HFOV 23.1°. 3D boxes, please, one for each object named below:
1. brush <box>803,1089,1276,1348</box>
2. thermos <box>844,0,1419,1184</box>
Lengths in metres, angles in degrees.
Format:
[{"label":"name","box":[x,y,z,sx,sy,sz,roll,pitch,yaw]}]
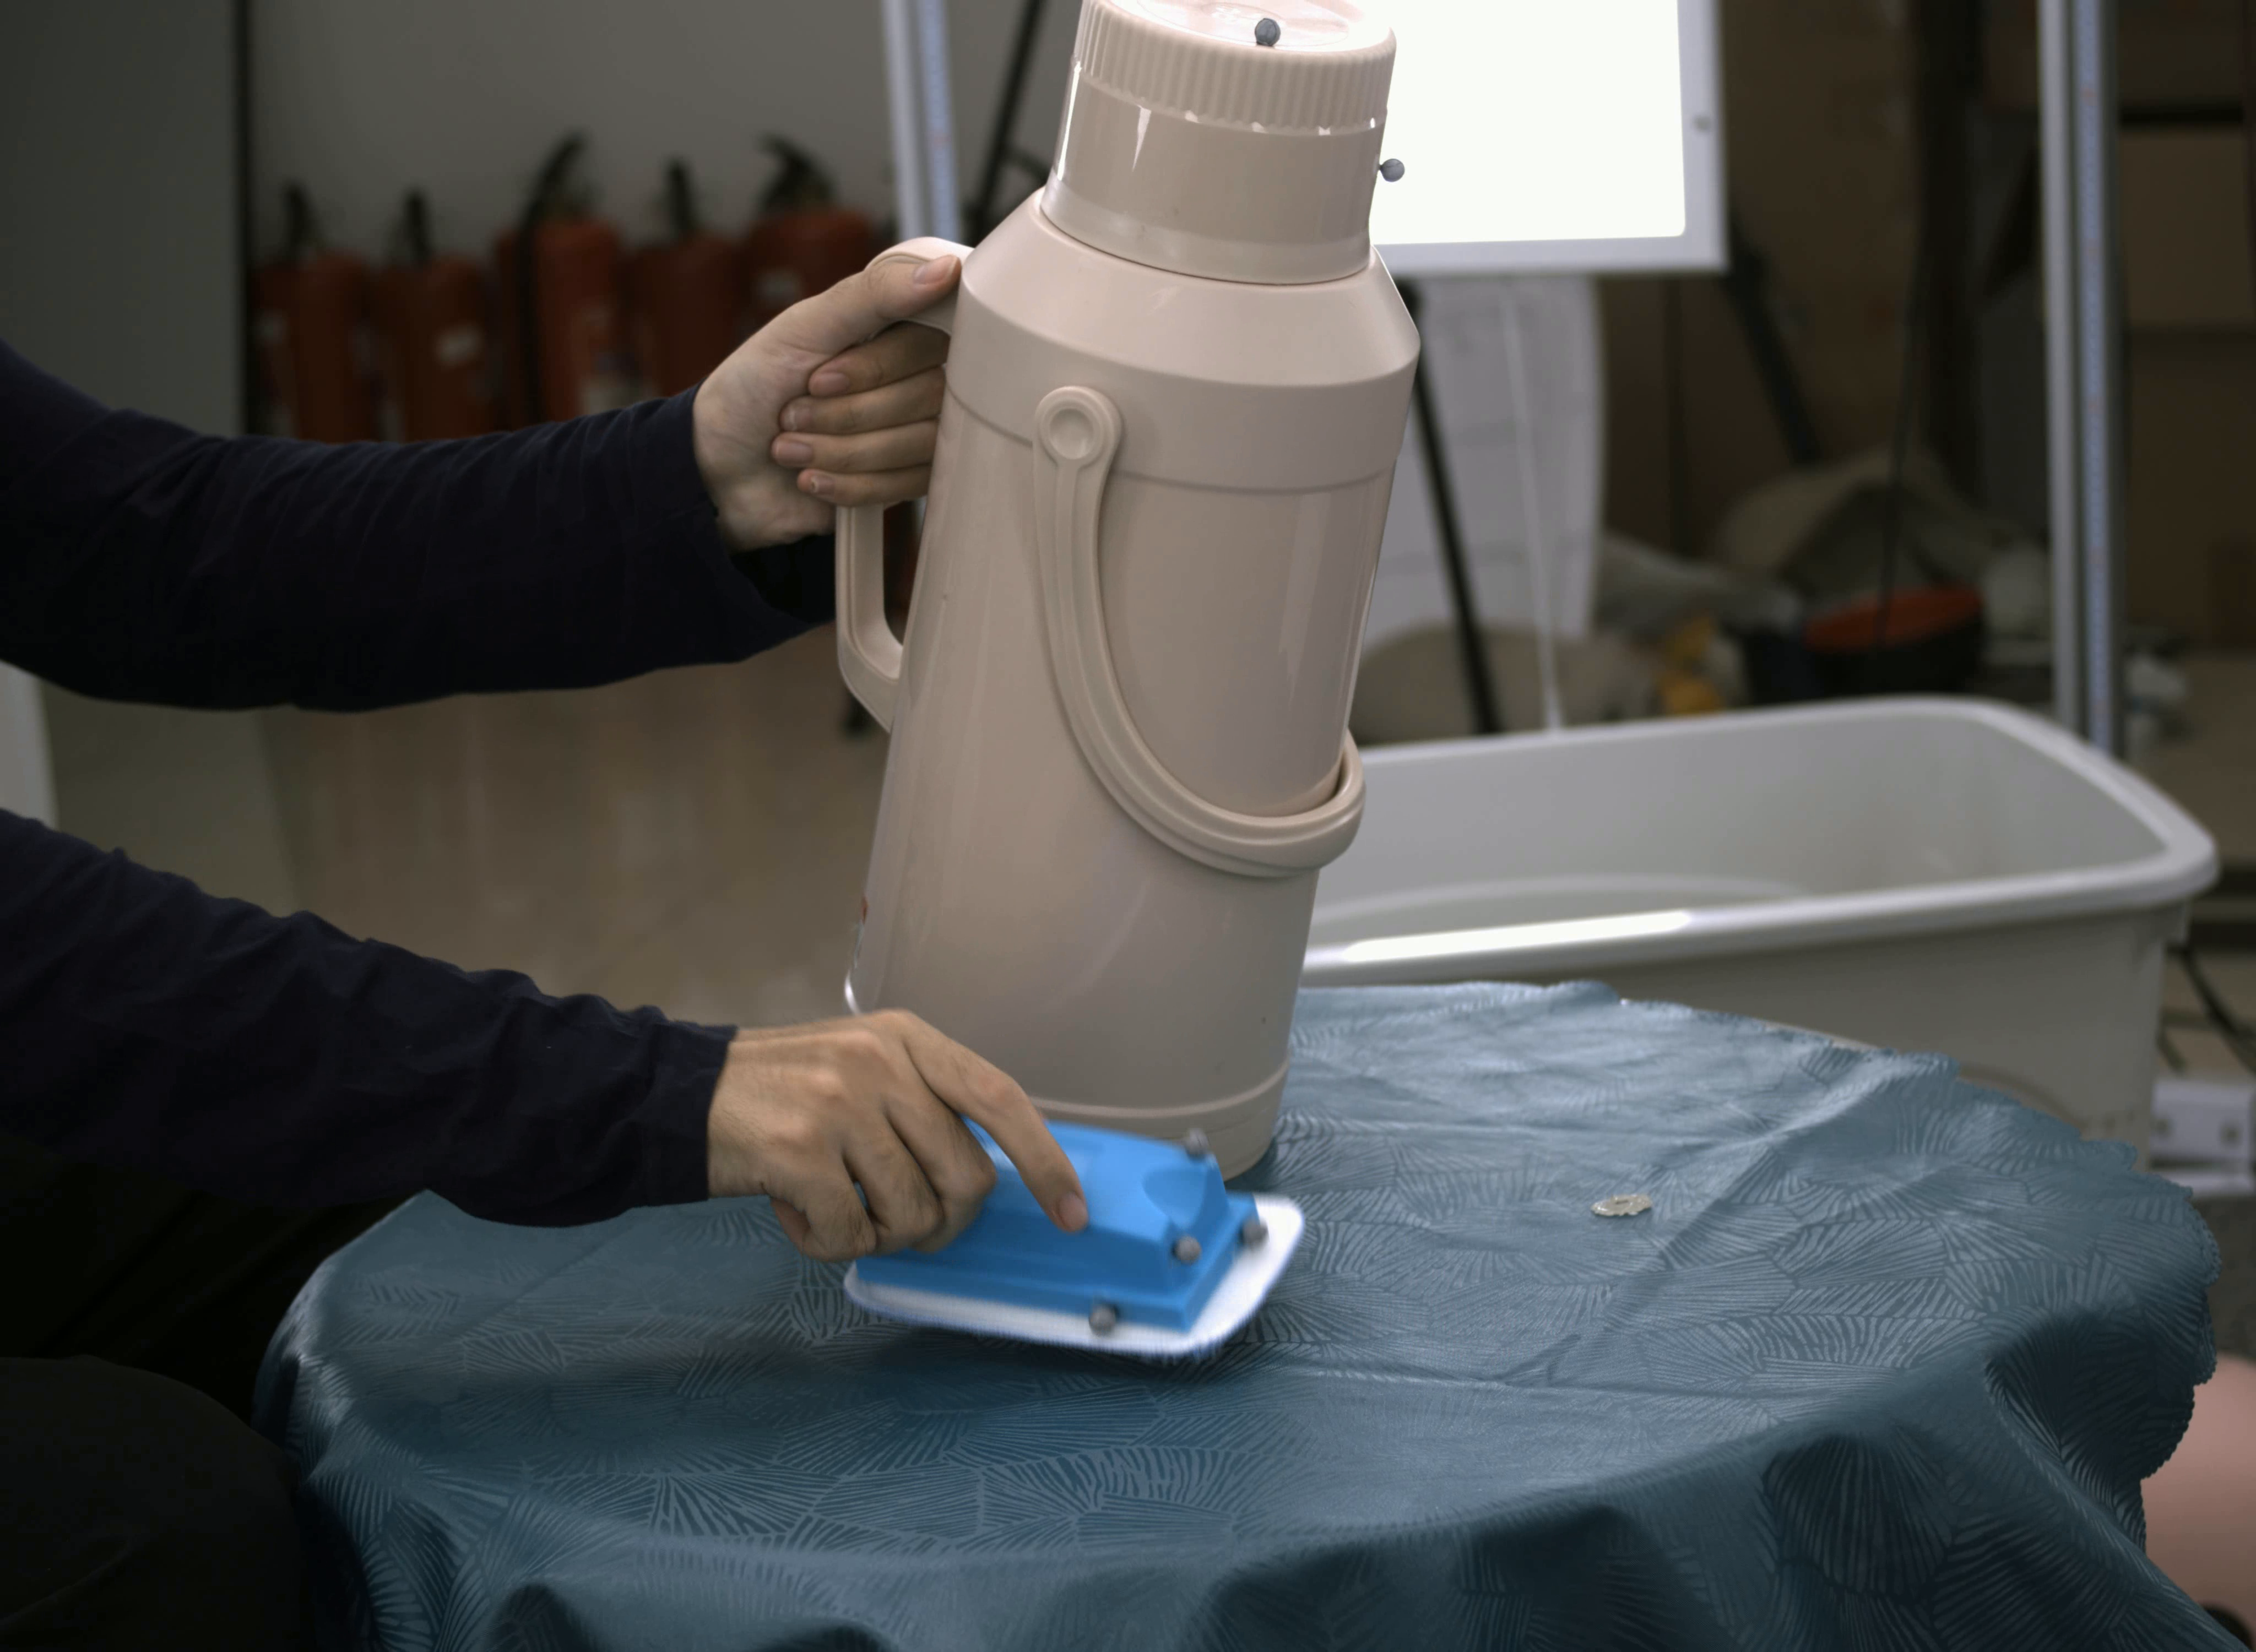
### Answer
[{"label":"brush","box":[-0.029,0.121,1.741,0.146,0.056,0.082,10,34,29]},{"label":"thermos","box":[-0.004,-0.090,1.879,0.209,0.409,0.172,17,25,20]}]
